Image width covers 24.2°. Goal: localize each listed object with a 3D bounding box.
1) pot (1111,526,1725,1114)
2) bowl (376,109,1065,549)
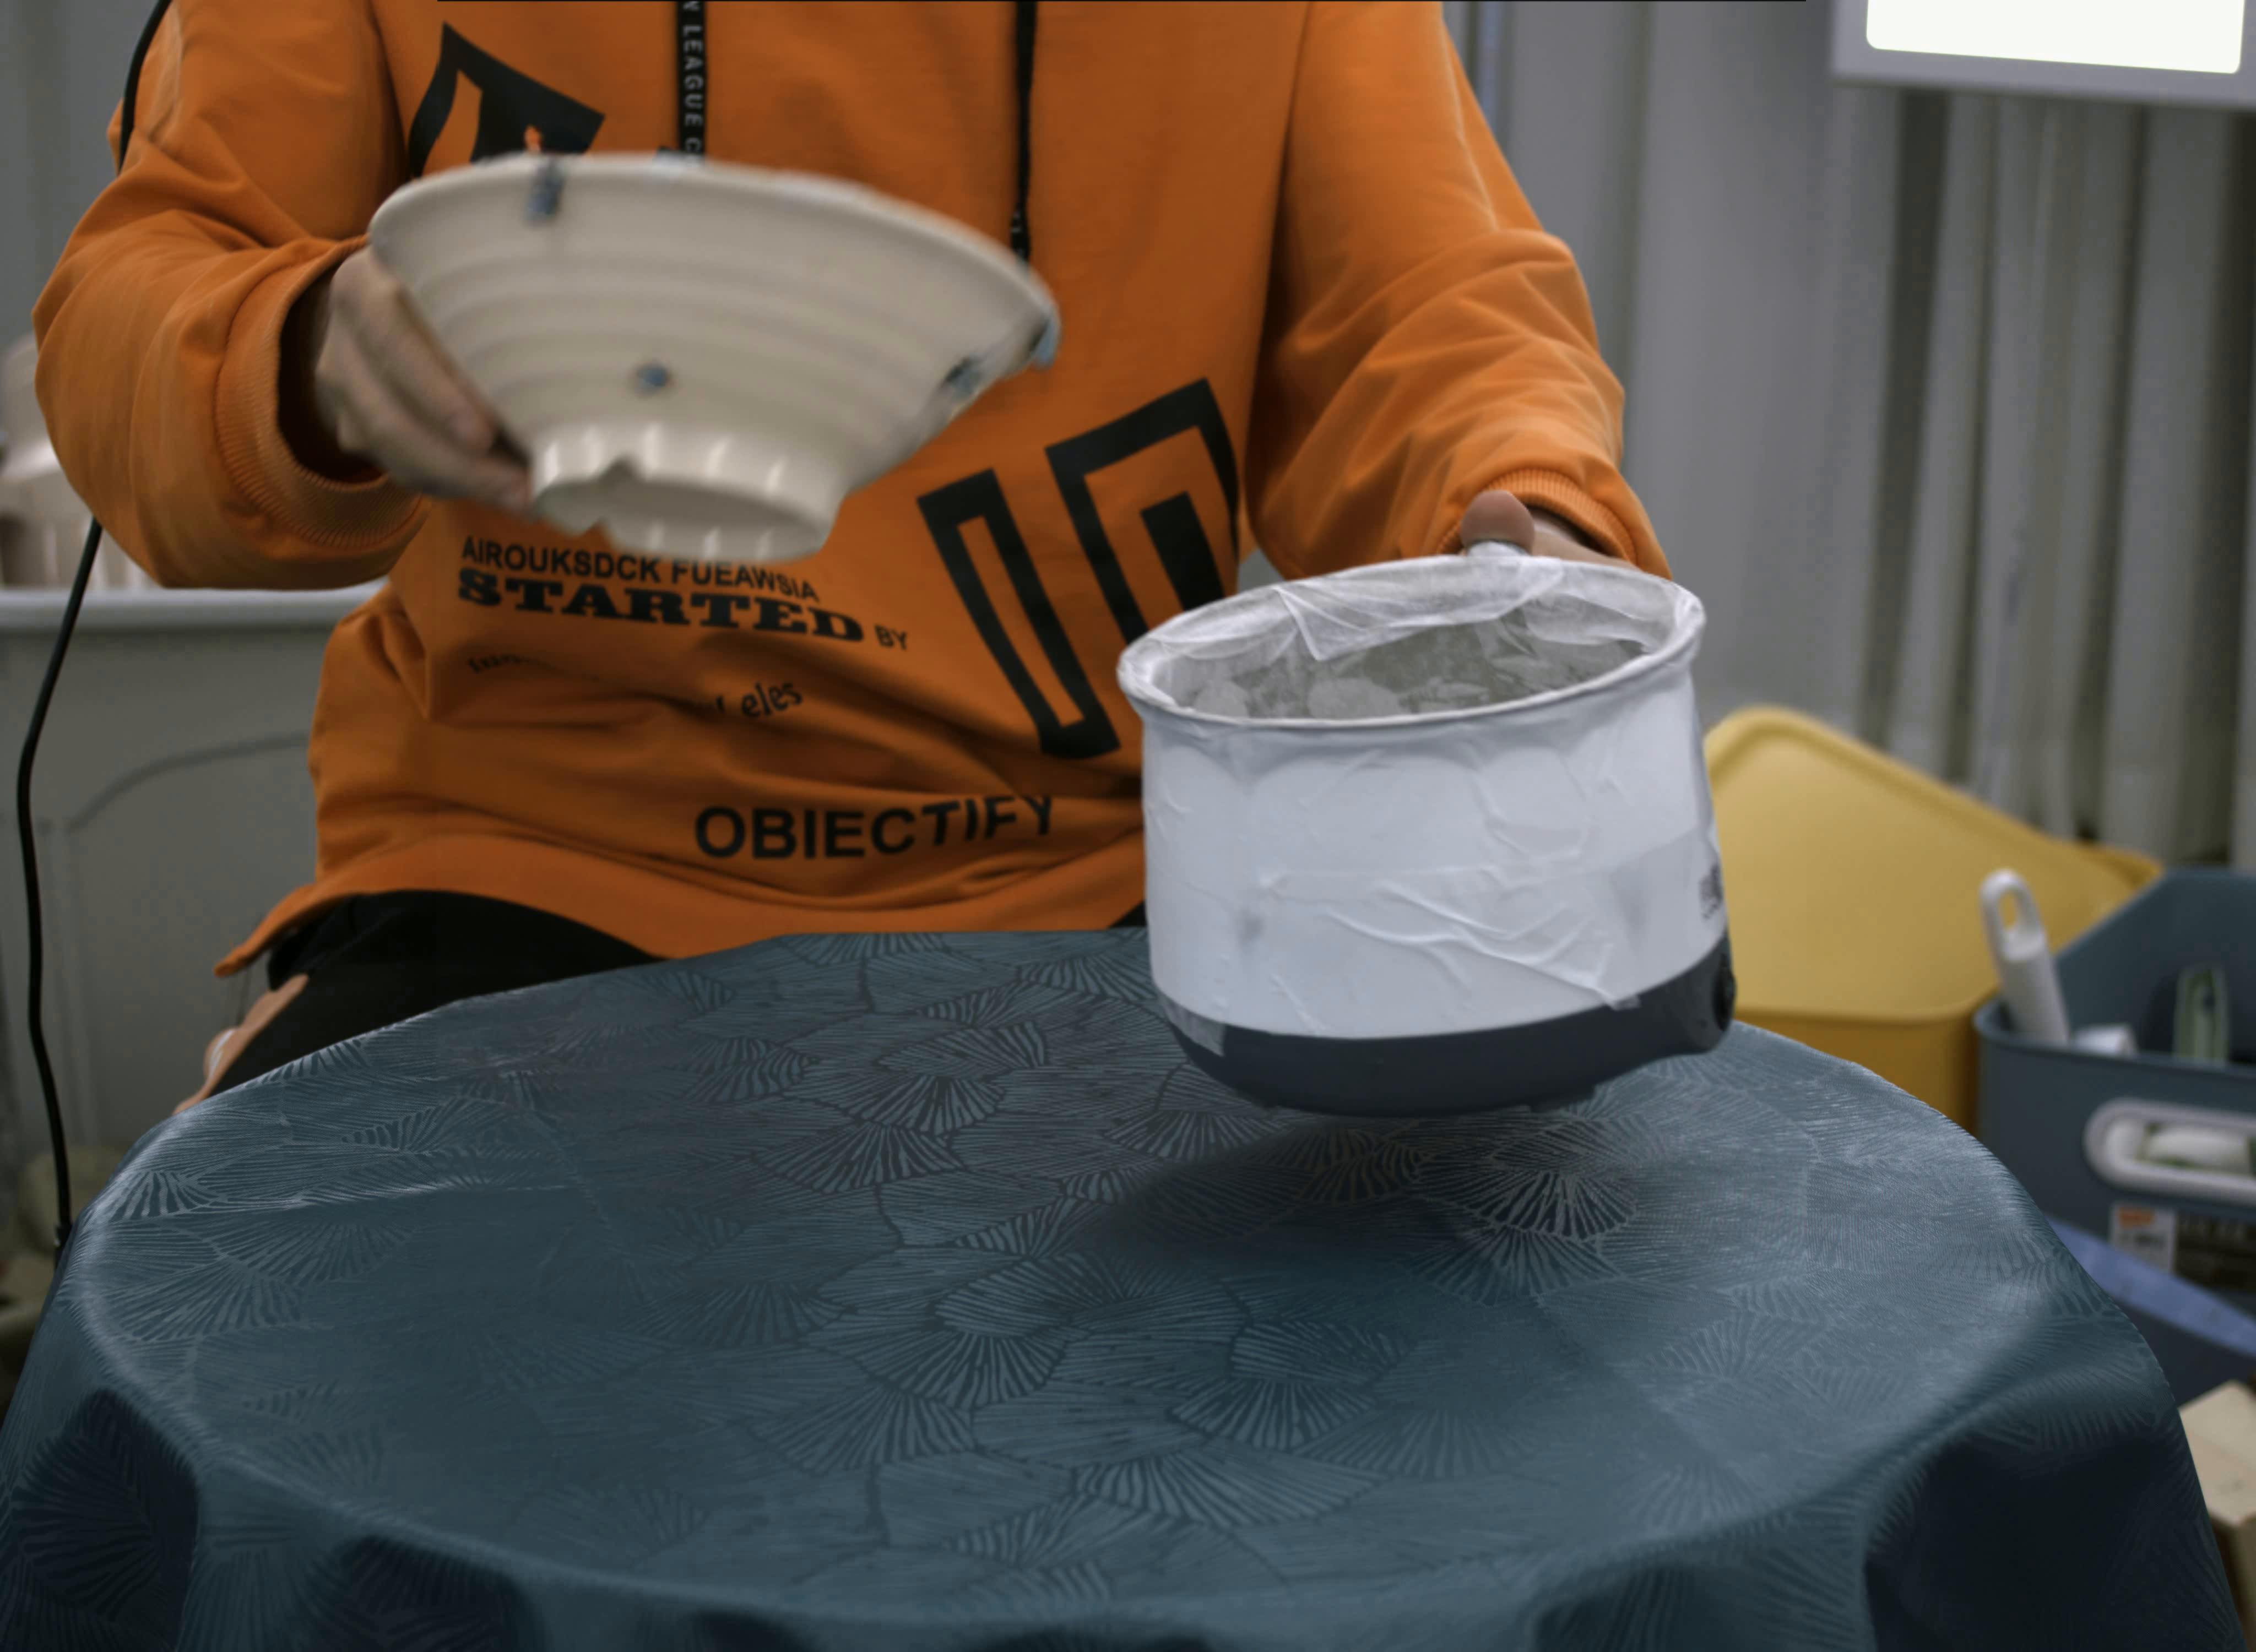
[{"bbox_3d":[0.097,-0.007,1.621,0.177,0.138,0.233,0,19,18],"label":"pot"},{"bbox_3d":[-0.122,-0.132,1.536,0.203,0.078,0.205,4,-17,2],"label":"bowl"}]
